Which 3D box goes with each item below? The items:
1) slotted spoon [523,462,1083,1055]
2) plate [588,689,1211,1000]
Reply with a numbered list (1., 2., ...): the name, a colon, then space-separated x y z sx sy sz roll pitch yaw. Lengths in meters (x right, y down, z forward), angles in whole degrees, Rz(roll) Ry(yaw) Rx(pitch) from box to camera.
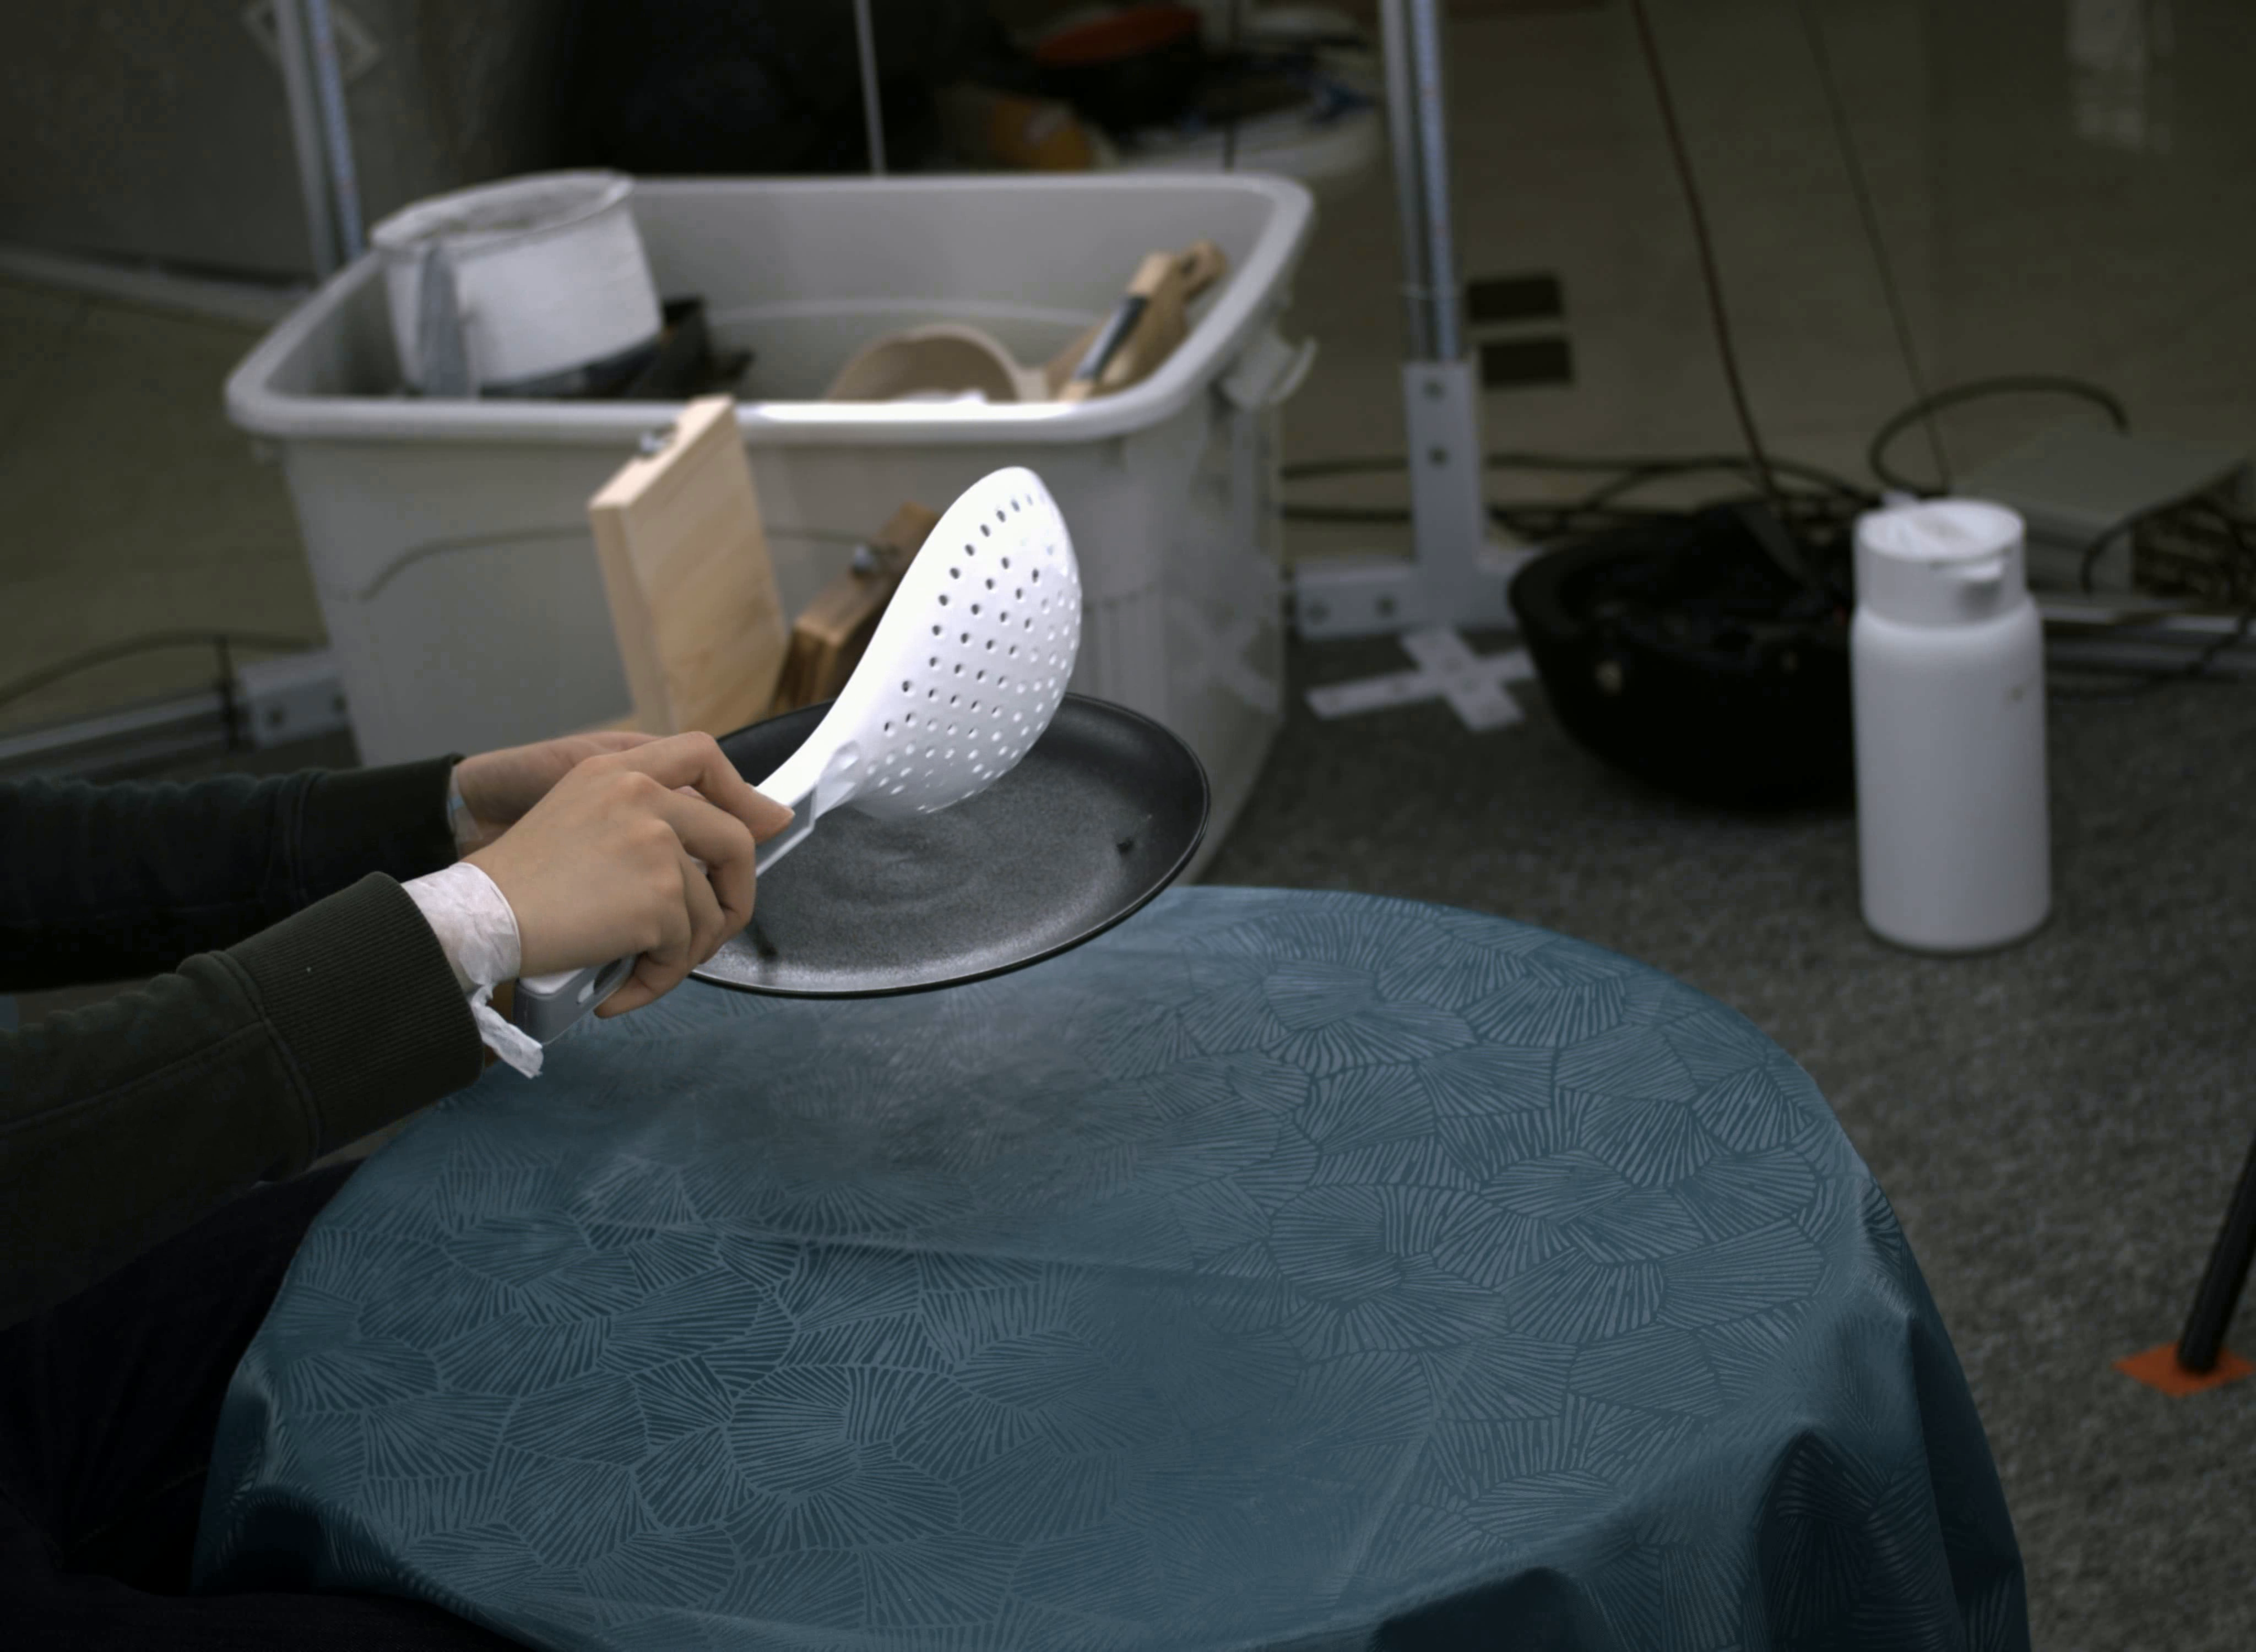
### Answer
1. slotted spoon: -0.107 -0.016 1.974 0.045 0.138 0.346 24 39 26
2. plate: -0.088 0.011 2.194 0.244 0.024 0.240 -6 29 3
